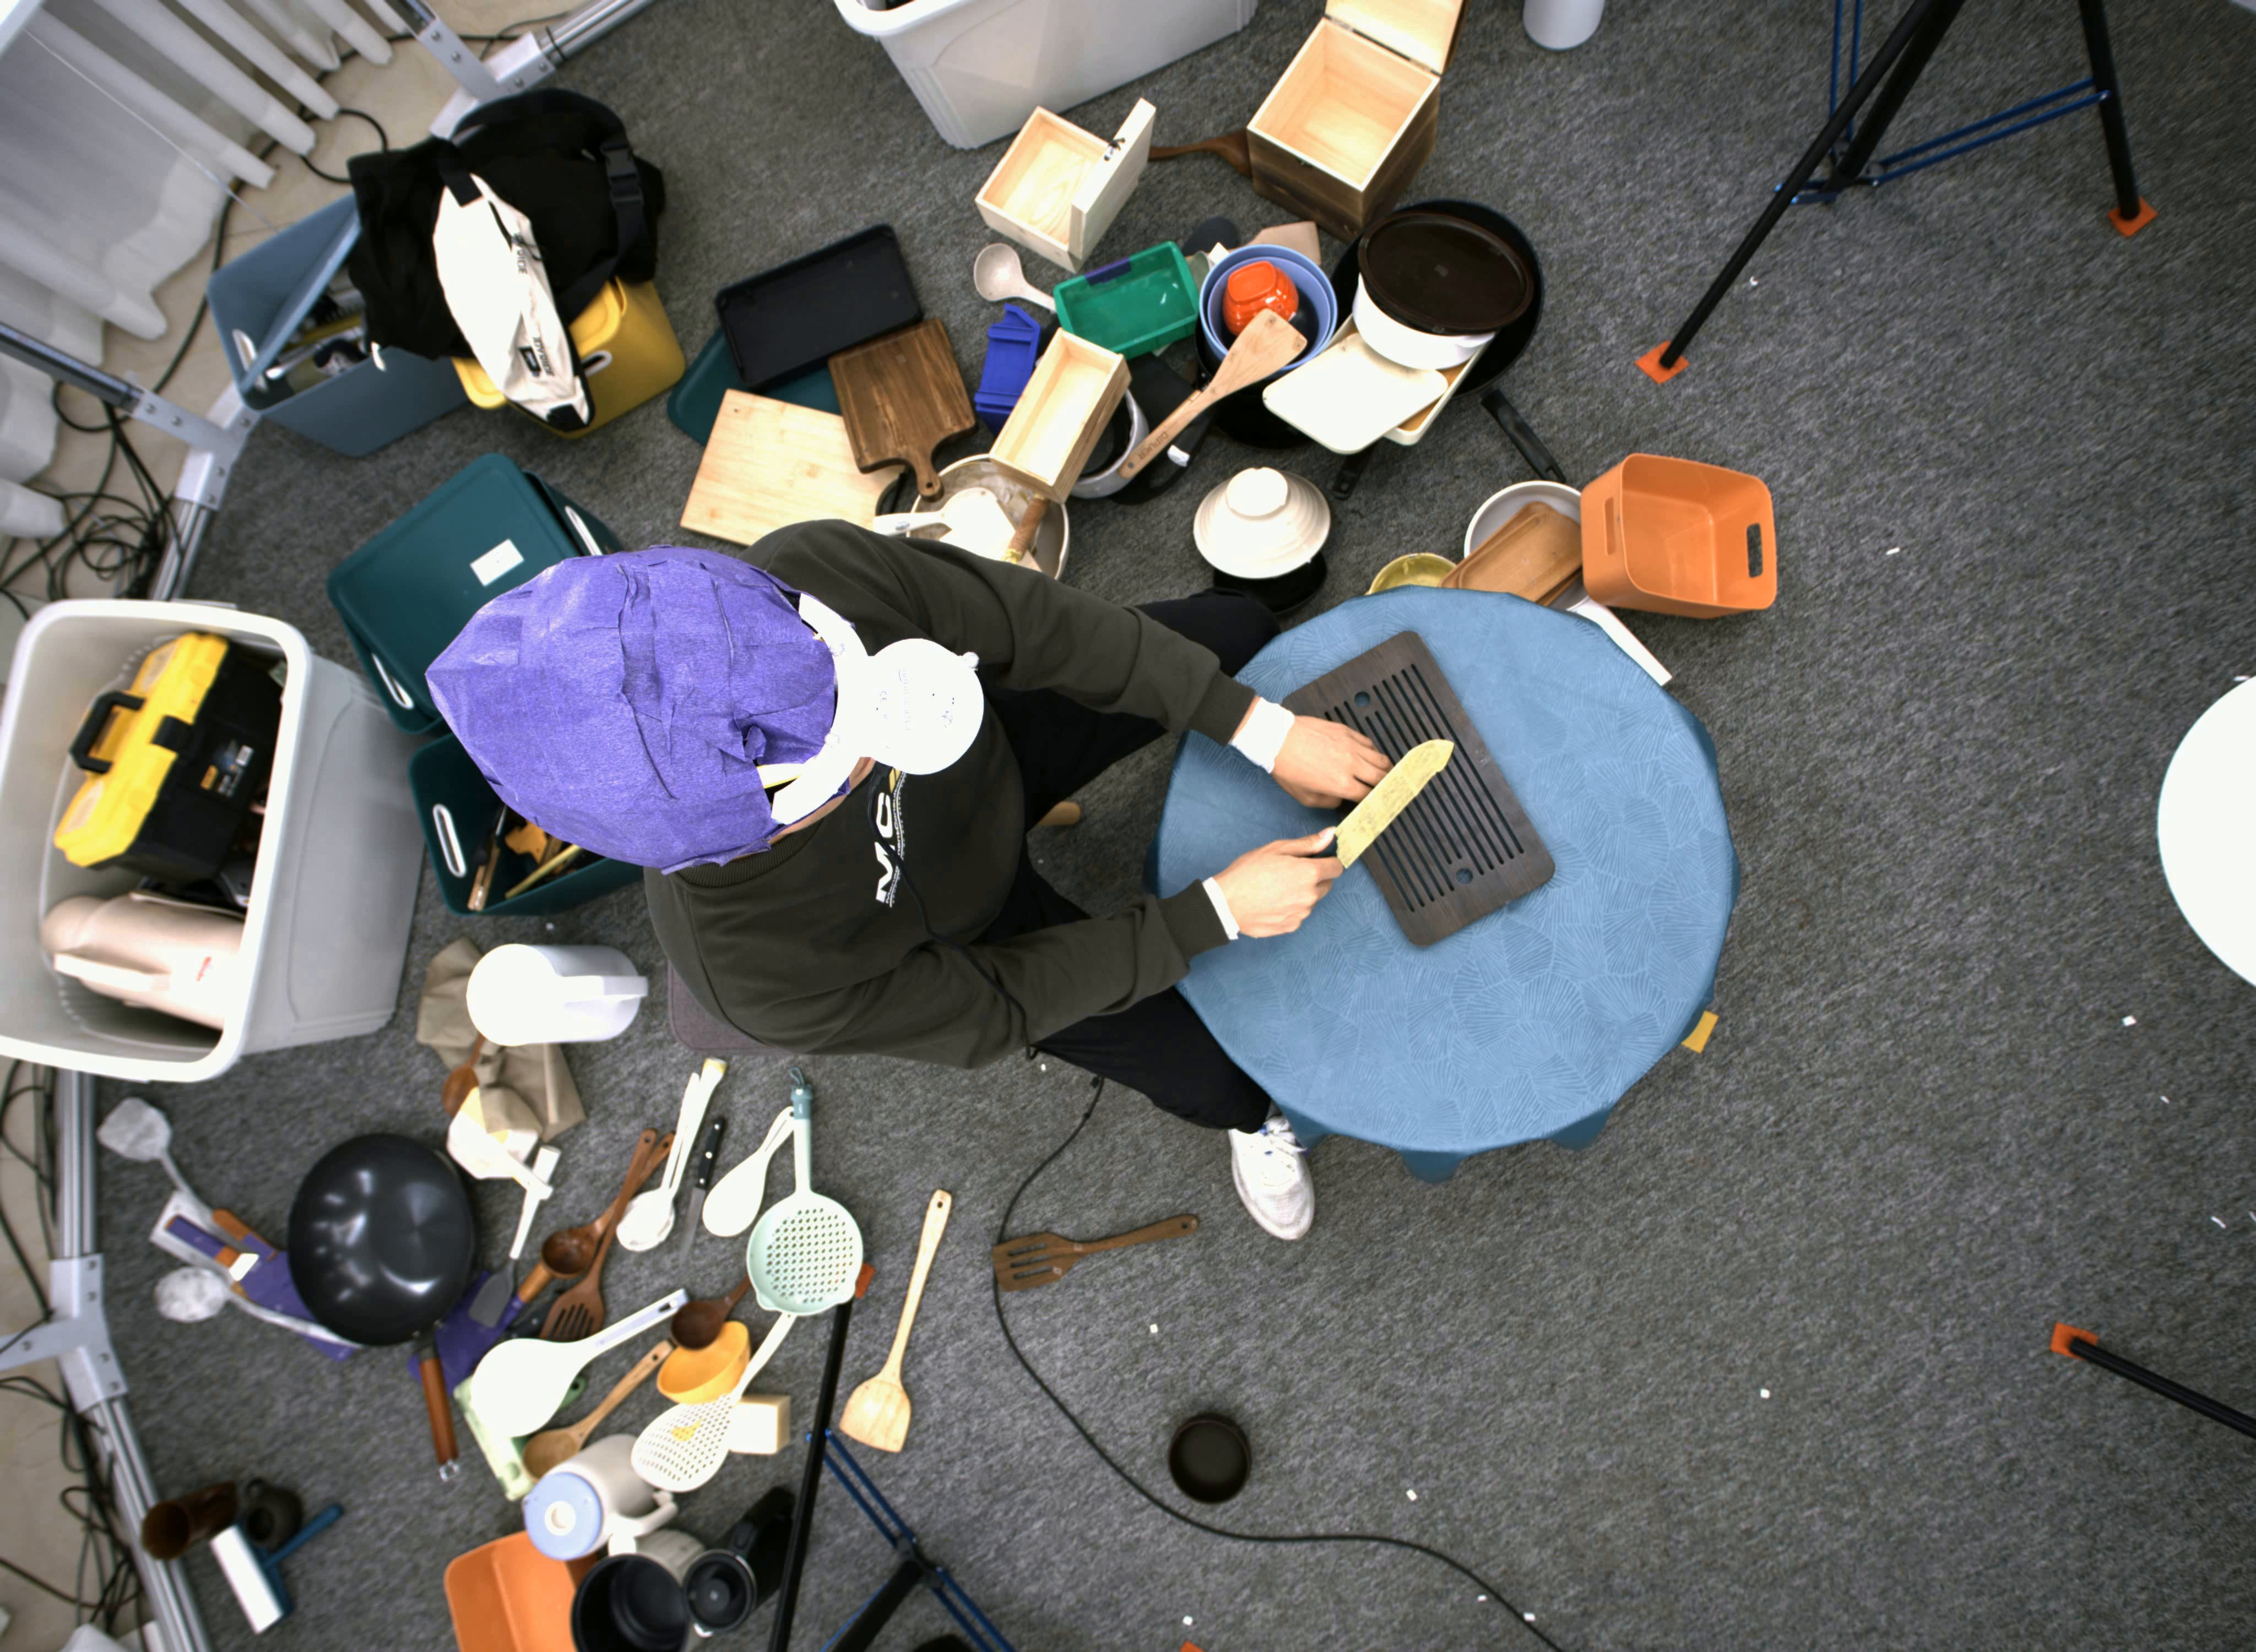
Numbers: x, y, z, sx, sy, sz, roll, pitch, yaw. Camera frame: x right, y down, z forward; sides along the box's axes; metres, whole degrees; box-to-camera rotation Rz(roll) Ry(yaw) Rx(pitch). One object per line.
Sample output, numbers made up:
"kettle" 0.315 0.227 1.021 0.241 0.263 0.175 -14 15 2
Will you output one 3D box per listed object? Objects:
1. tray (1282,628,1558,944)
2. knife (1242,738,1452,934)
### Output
"tray" 0.305 -0.045 1.450 0.171 0.018 0.304 -29 82 8
"knife" 0.229 0.010 1.419 0.290 0.082 0.027 -43 51 3
